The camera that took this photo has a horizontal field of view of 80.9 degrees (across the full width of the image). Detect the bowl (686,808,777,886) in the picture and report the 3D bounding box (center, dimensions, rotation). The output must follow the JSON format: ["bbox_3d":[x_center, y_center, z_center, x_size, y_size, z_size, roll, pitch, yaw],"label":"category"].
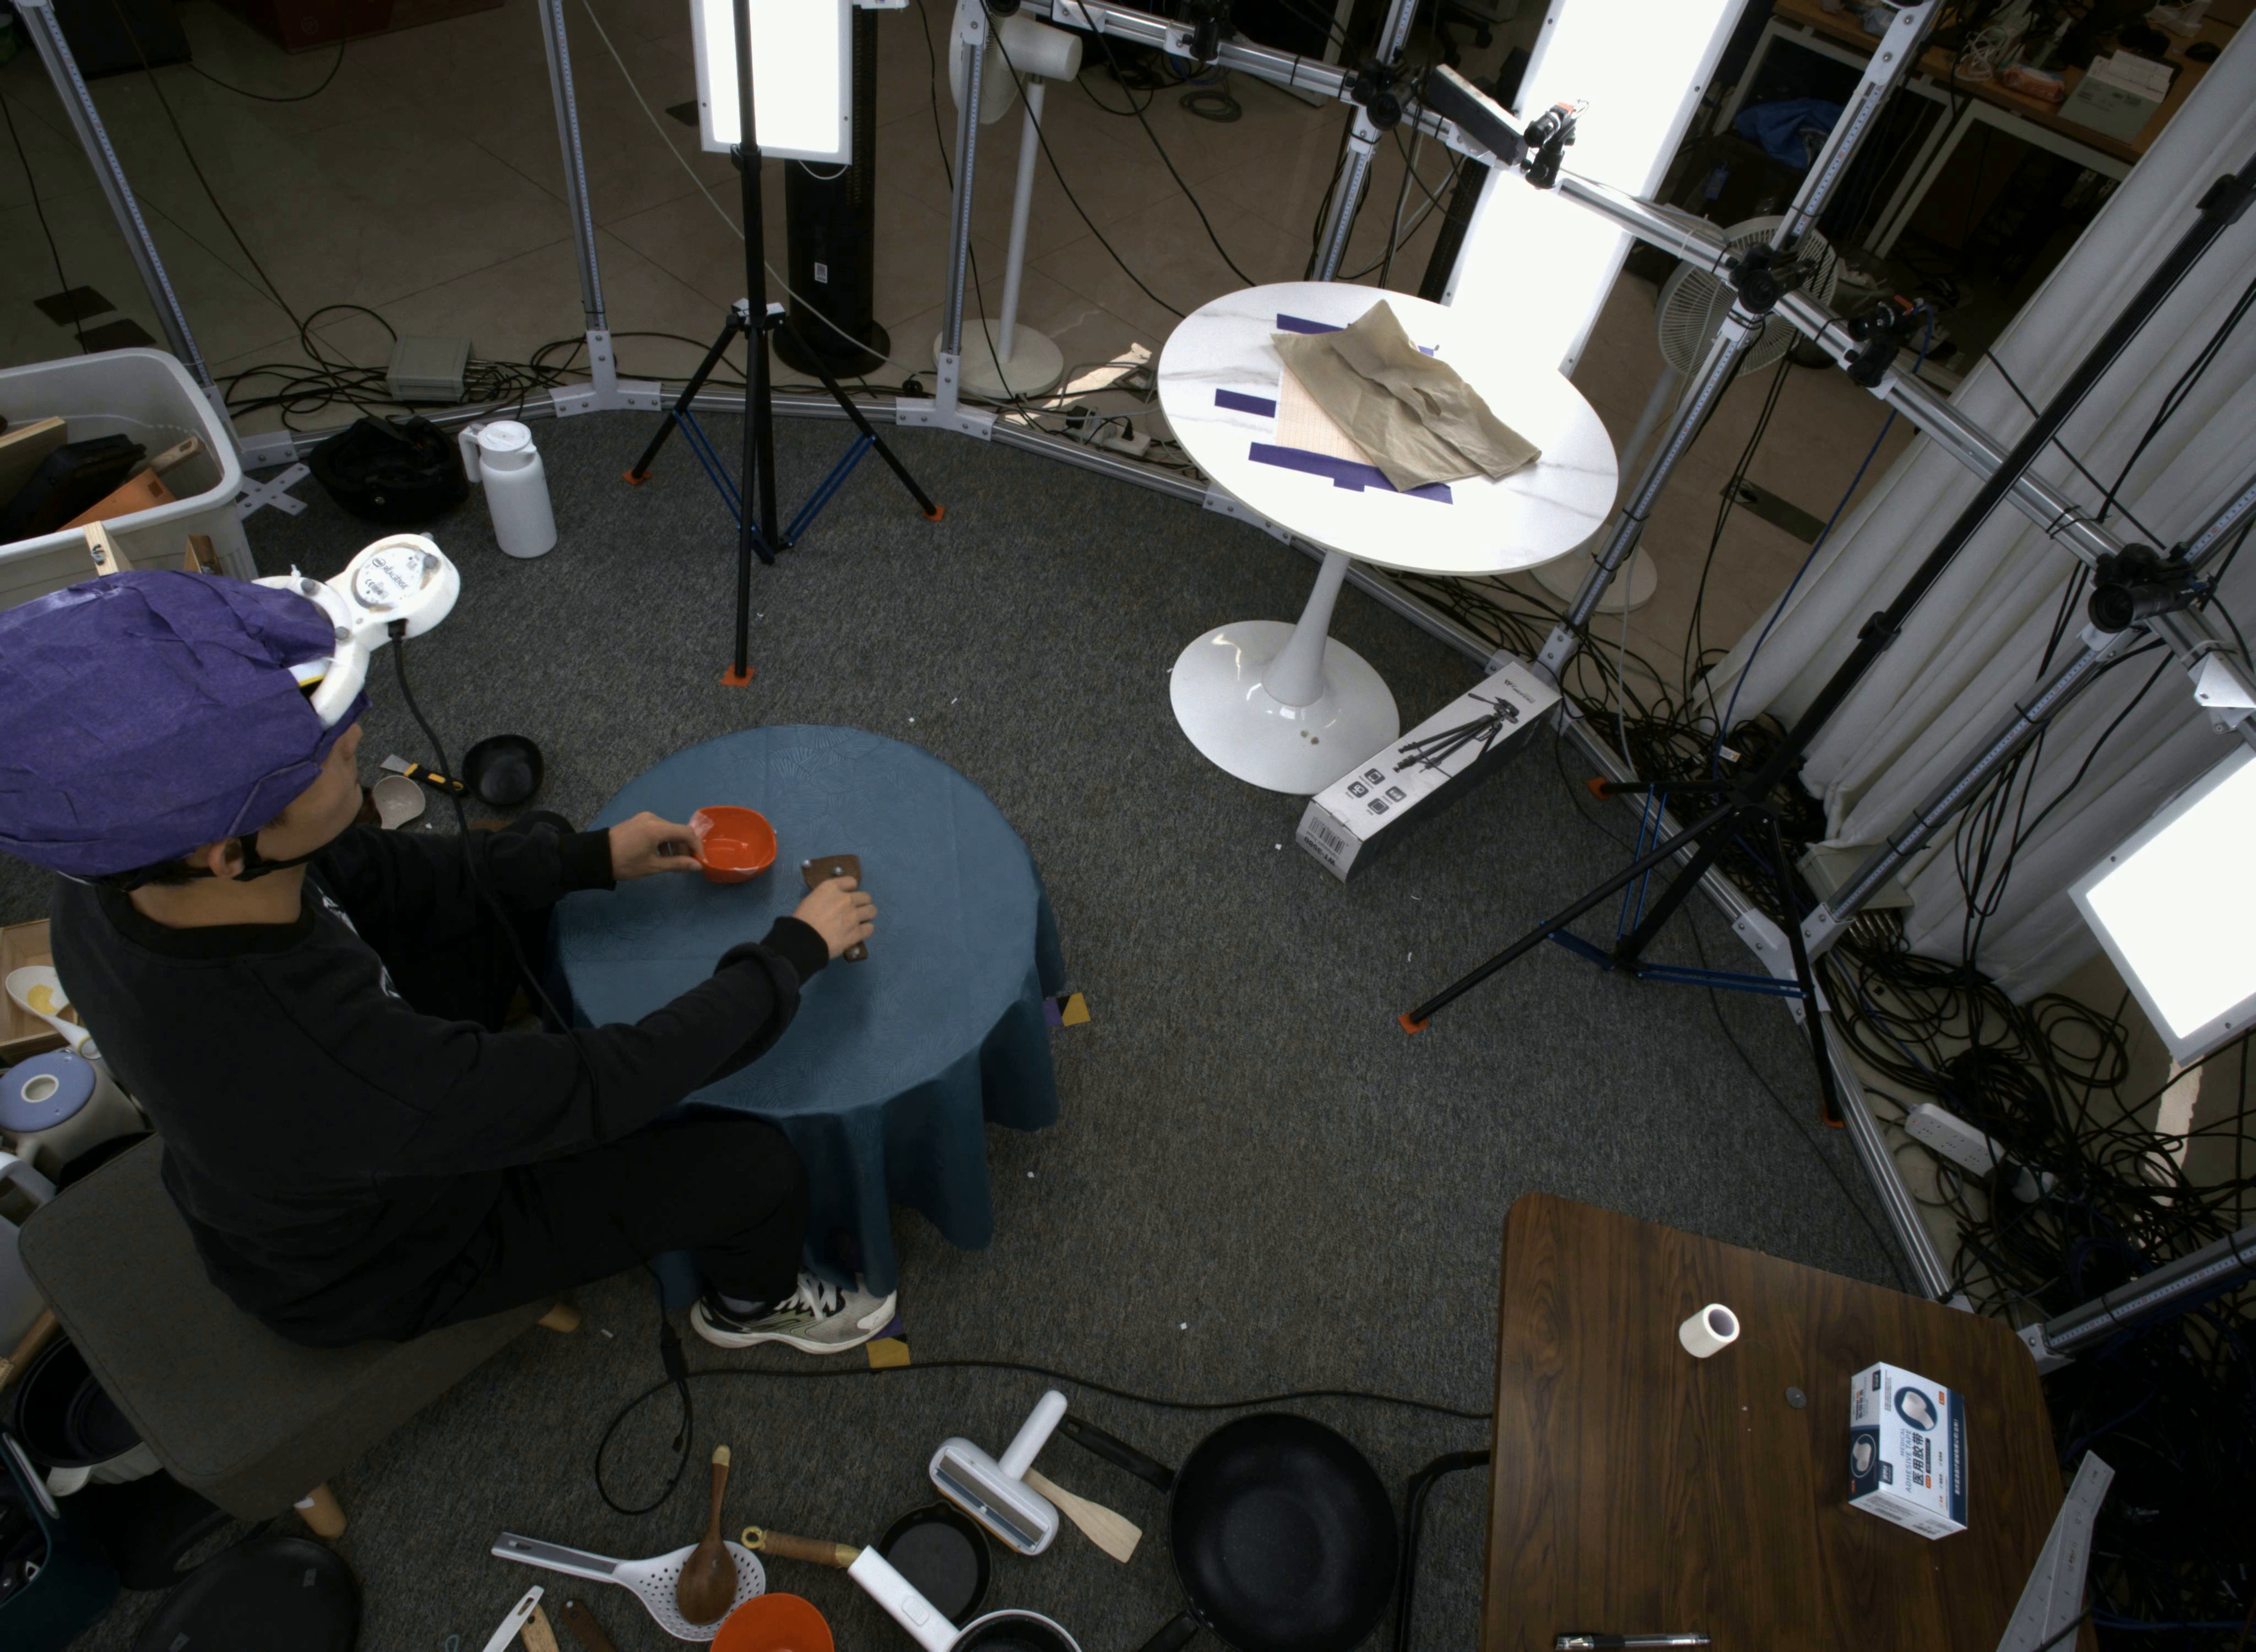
[{"bbox_3d":[-0.506,0.032,1.636,0.120,0.052,0.116,20,40,-15],"label":"bowl"}]

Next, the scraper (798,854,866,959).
[{"bbox_3d":[-0.354,0.096,1.593,0.076,0.011,0.204,-7,36,-20],"label":"scraper"}]
